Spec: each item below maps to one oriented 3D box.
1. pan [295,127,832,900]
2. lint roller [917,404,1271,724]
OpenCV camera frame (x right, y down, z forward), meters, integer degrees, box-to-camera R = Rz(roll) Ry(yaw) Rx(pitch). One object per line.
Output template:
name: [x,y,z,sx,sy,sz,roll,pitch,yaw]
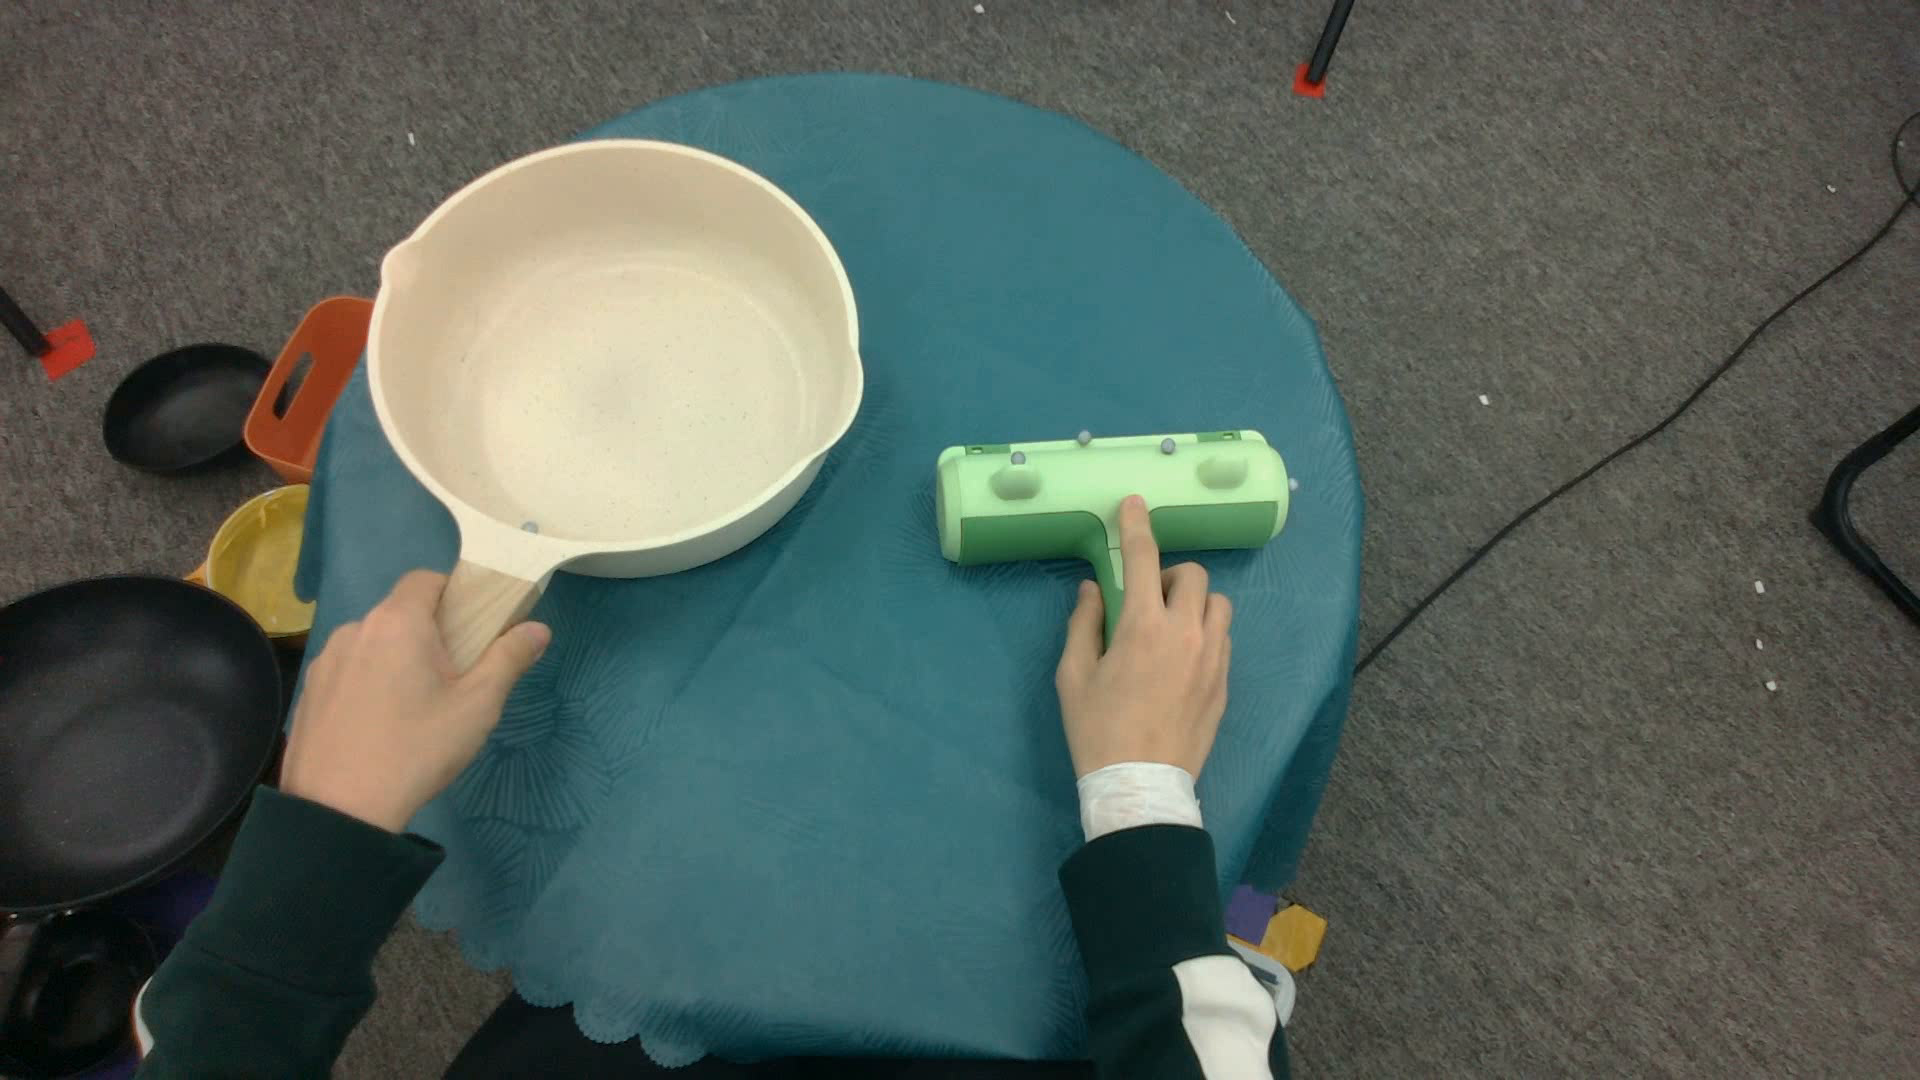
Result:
pan: [-0.223,-0.023,0.715,0.263,0.101,0.436,16,66,1]
lint roller: [0.084,0.003,0.740,0.199,0.082,0.184,-4,53,-8]
